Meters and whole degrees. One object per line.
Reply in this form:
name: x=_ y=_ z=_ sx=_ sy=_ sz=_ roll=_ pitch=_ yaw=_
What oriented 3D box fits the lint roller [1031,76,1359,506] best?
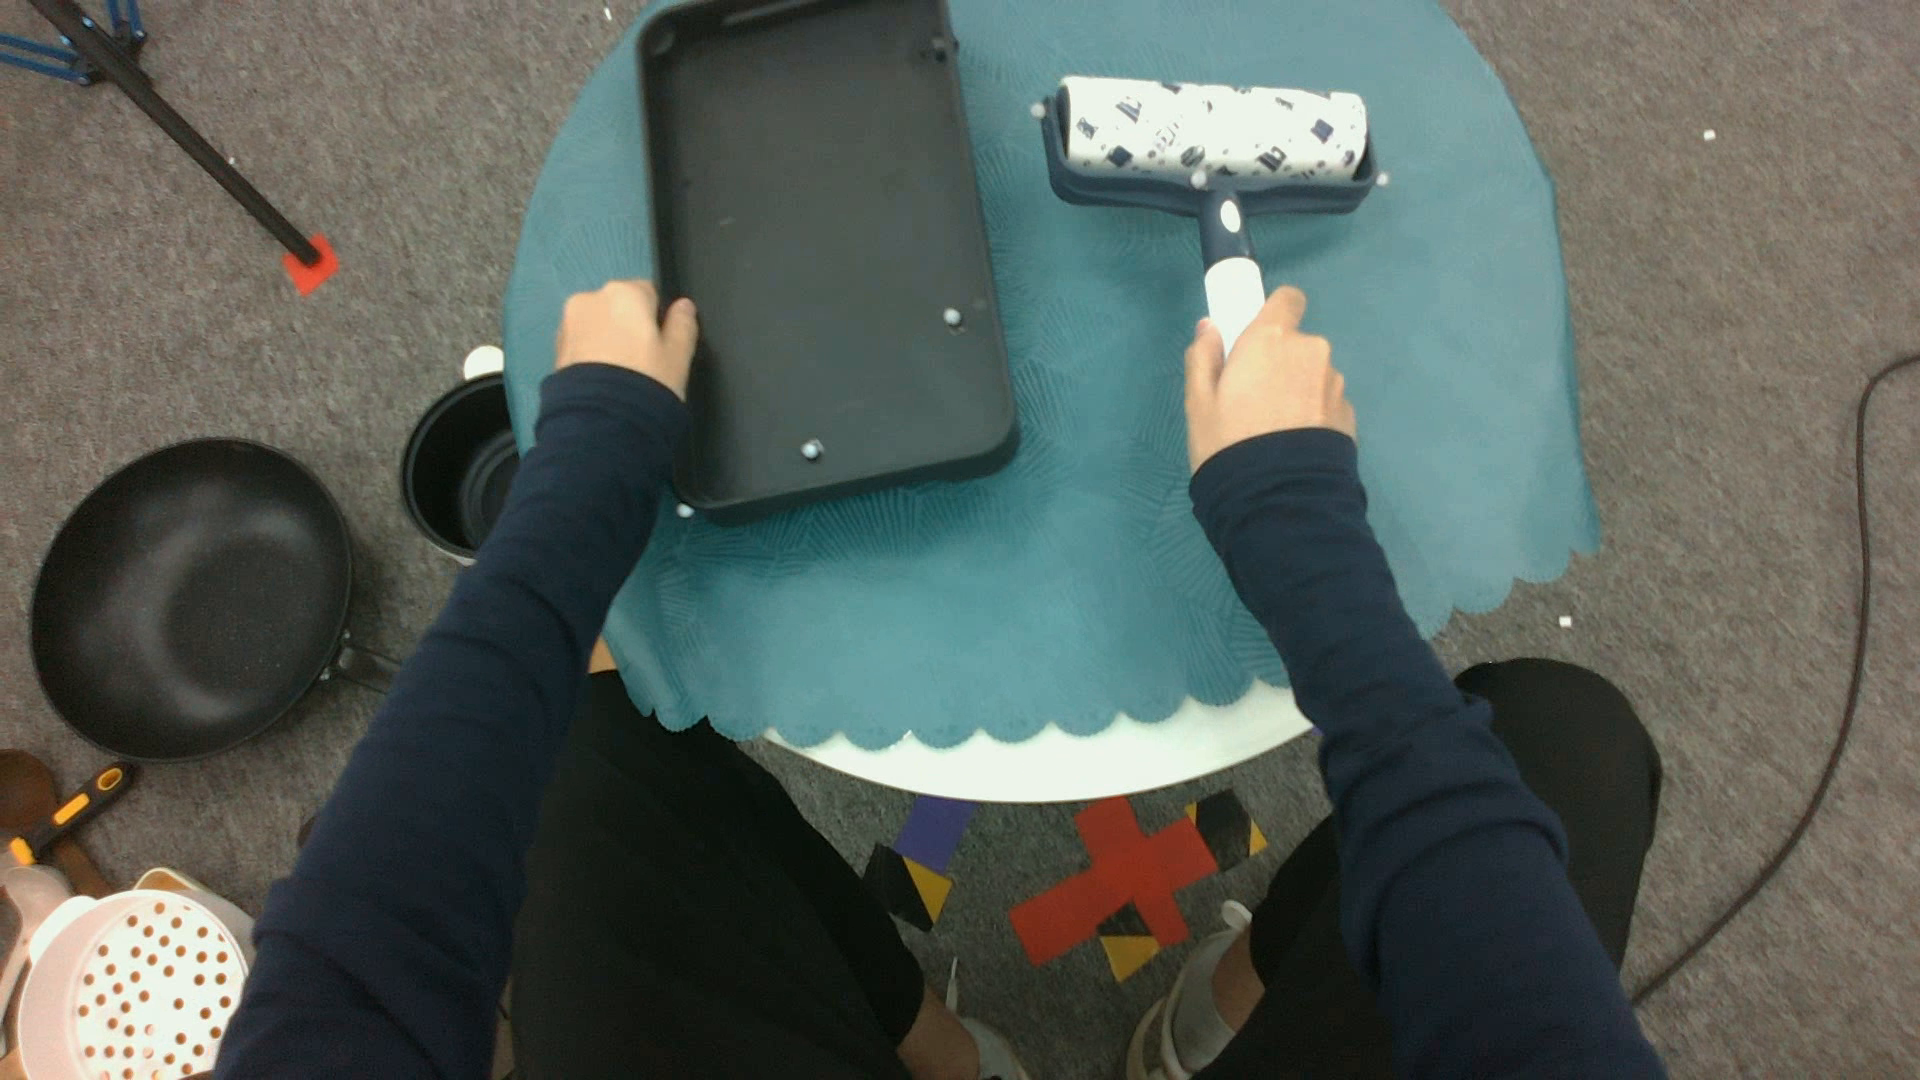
lint roller: x=0.133 y=-0.134 z=0.704 sx=0.176 sy=0.050 sz=0.248 roll=0 pitch=63 yaw=-9

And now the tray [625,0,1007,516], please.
tray: x=-0.084 y=-0.175 z=0.754 sx=0.184 sy=0.037 sz=0.319 roll=-11 pitch=69 yaw=7
